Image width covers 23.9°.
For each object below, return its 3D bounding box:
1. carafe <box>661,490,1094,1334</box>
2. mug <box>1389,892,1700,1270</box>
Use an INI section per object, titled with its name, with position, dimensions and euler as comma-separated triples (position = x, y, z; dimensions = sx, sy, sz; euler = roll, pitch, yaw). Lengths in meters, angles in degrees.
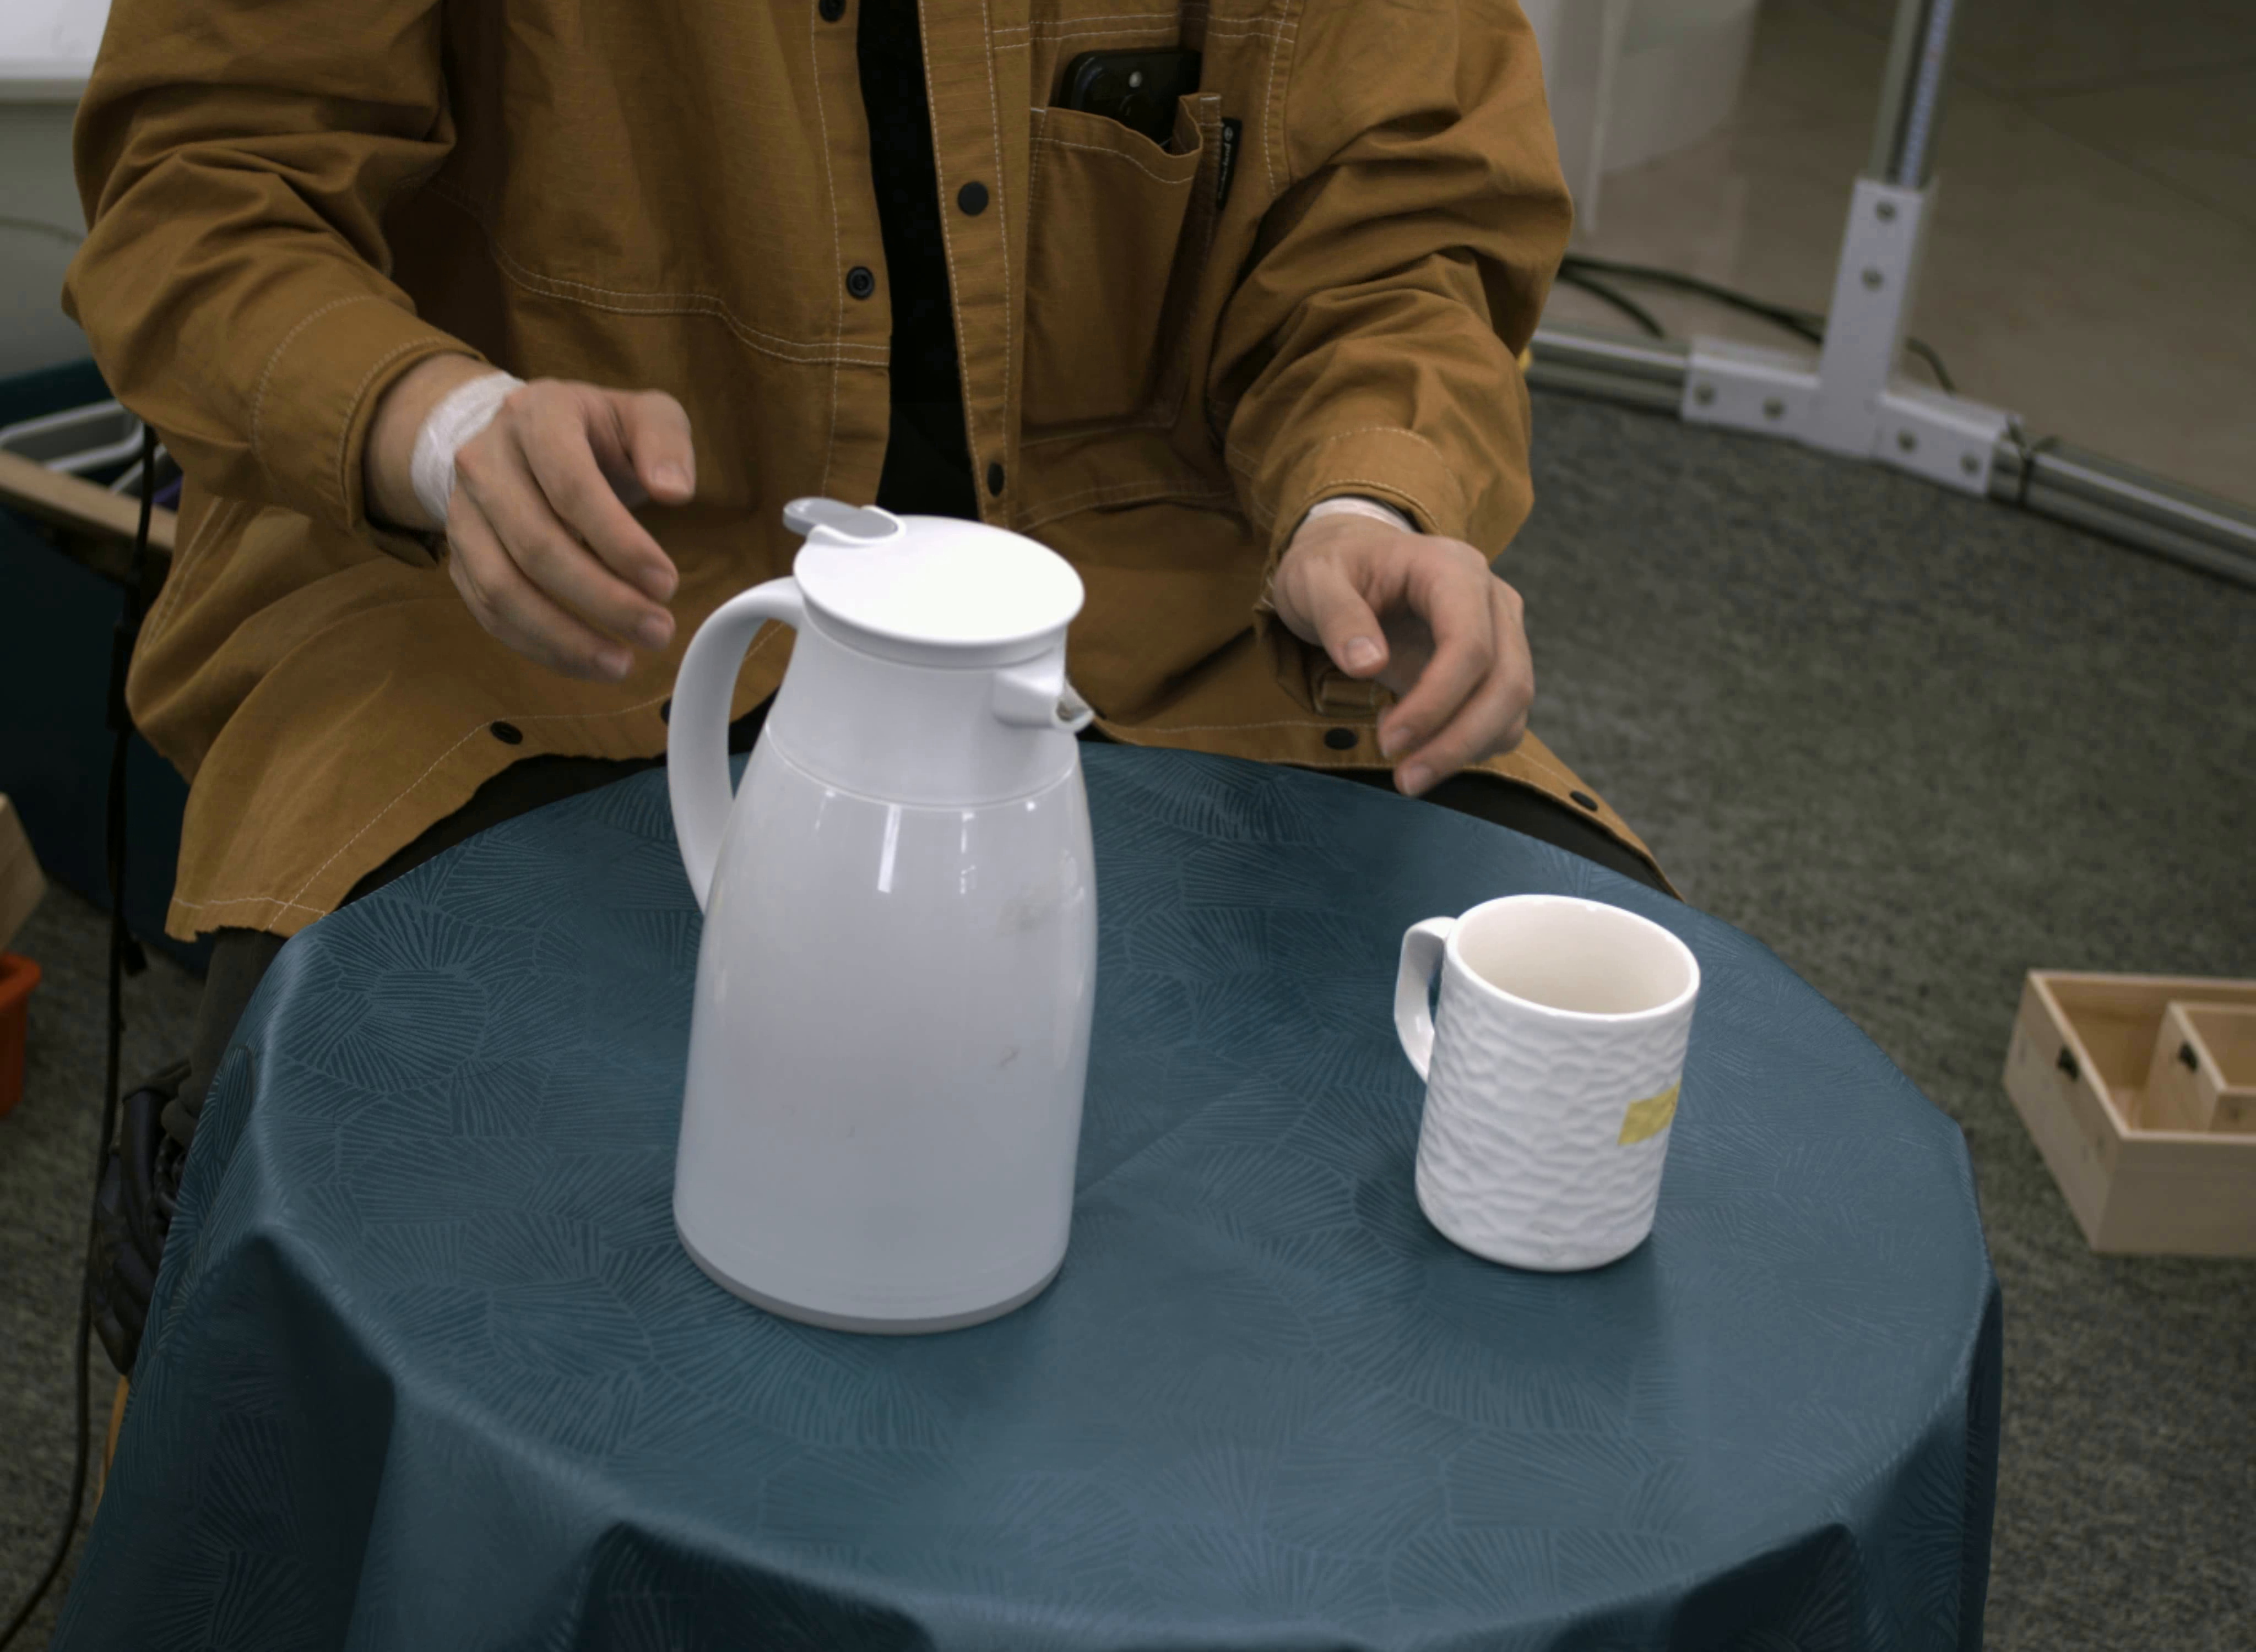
[carafe]
position = -0.088, 0.017, 1.721
dimensions = 0.169, 0.248, 0.132
euler = 26, 33, 34
[mug]
position = 0.132, 0.080, 1.806
dimensions = 0.084, 0.101, 0.119
euler = -16, 34, -39
